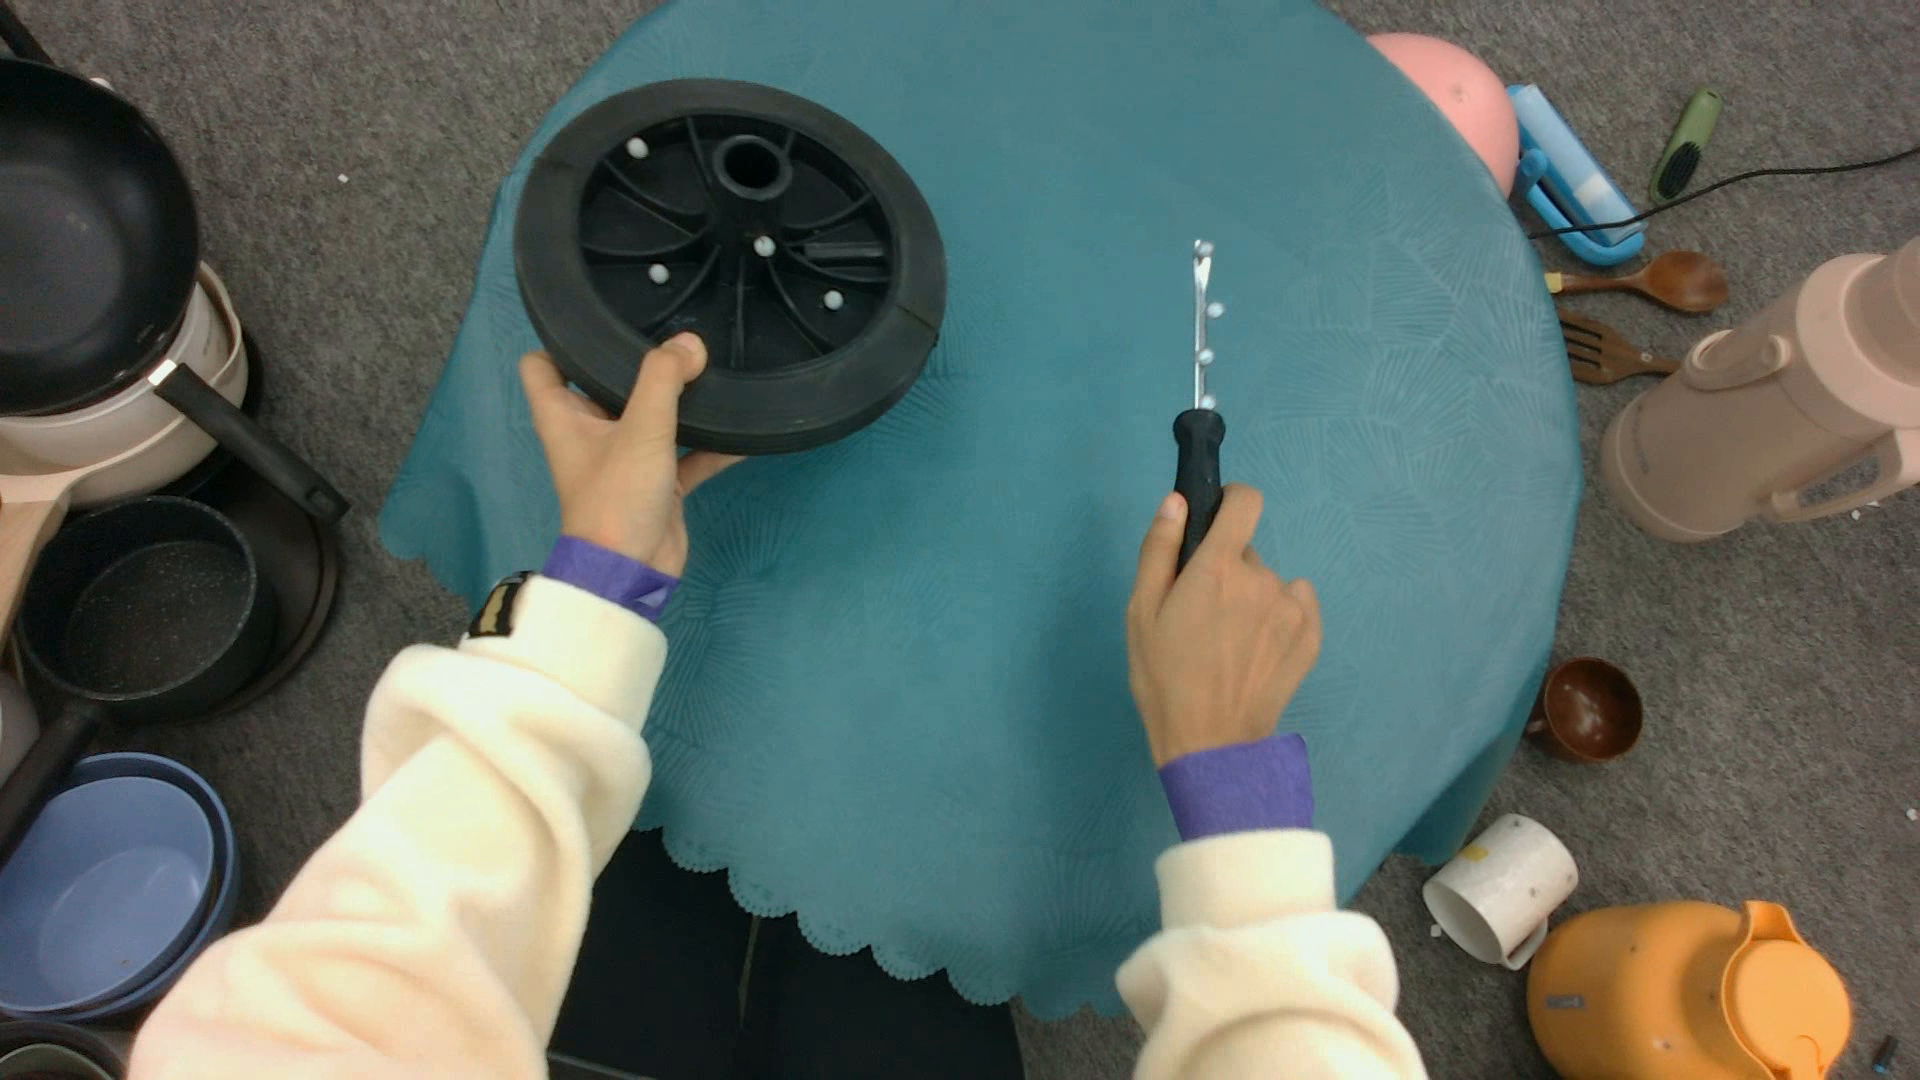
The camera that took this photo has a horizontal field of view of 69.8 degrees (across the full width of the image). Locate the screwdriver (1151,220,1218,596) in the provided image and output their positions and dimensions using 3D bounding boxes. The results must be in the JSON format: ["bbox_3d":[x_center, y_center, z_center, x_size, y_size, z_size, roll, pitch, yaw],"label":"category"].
[{"bbox_3d":[0.111,-0.067,0.653,0.031,0.031,0.198,11,67,-5],"label":"screwdriver"}]

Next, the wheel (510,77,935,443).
[{"bbox_3d":[-0.097,-0.139,0.600,0.190,0.079,0.187,-29,76,-27],"label":"wheel"}]
